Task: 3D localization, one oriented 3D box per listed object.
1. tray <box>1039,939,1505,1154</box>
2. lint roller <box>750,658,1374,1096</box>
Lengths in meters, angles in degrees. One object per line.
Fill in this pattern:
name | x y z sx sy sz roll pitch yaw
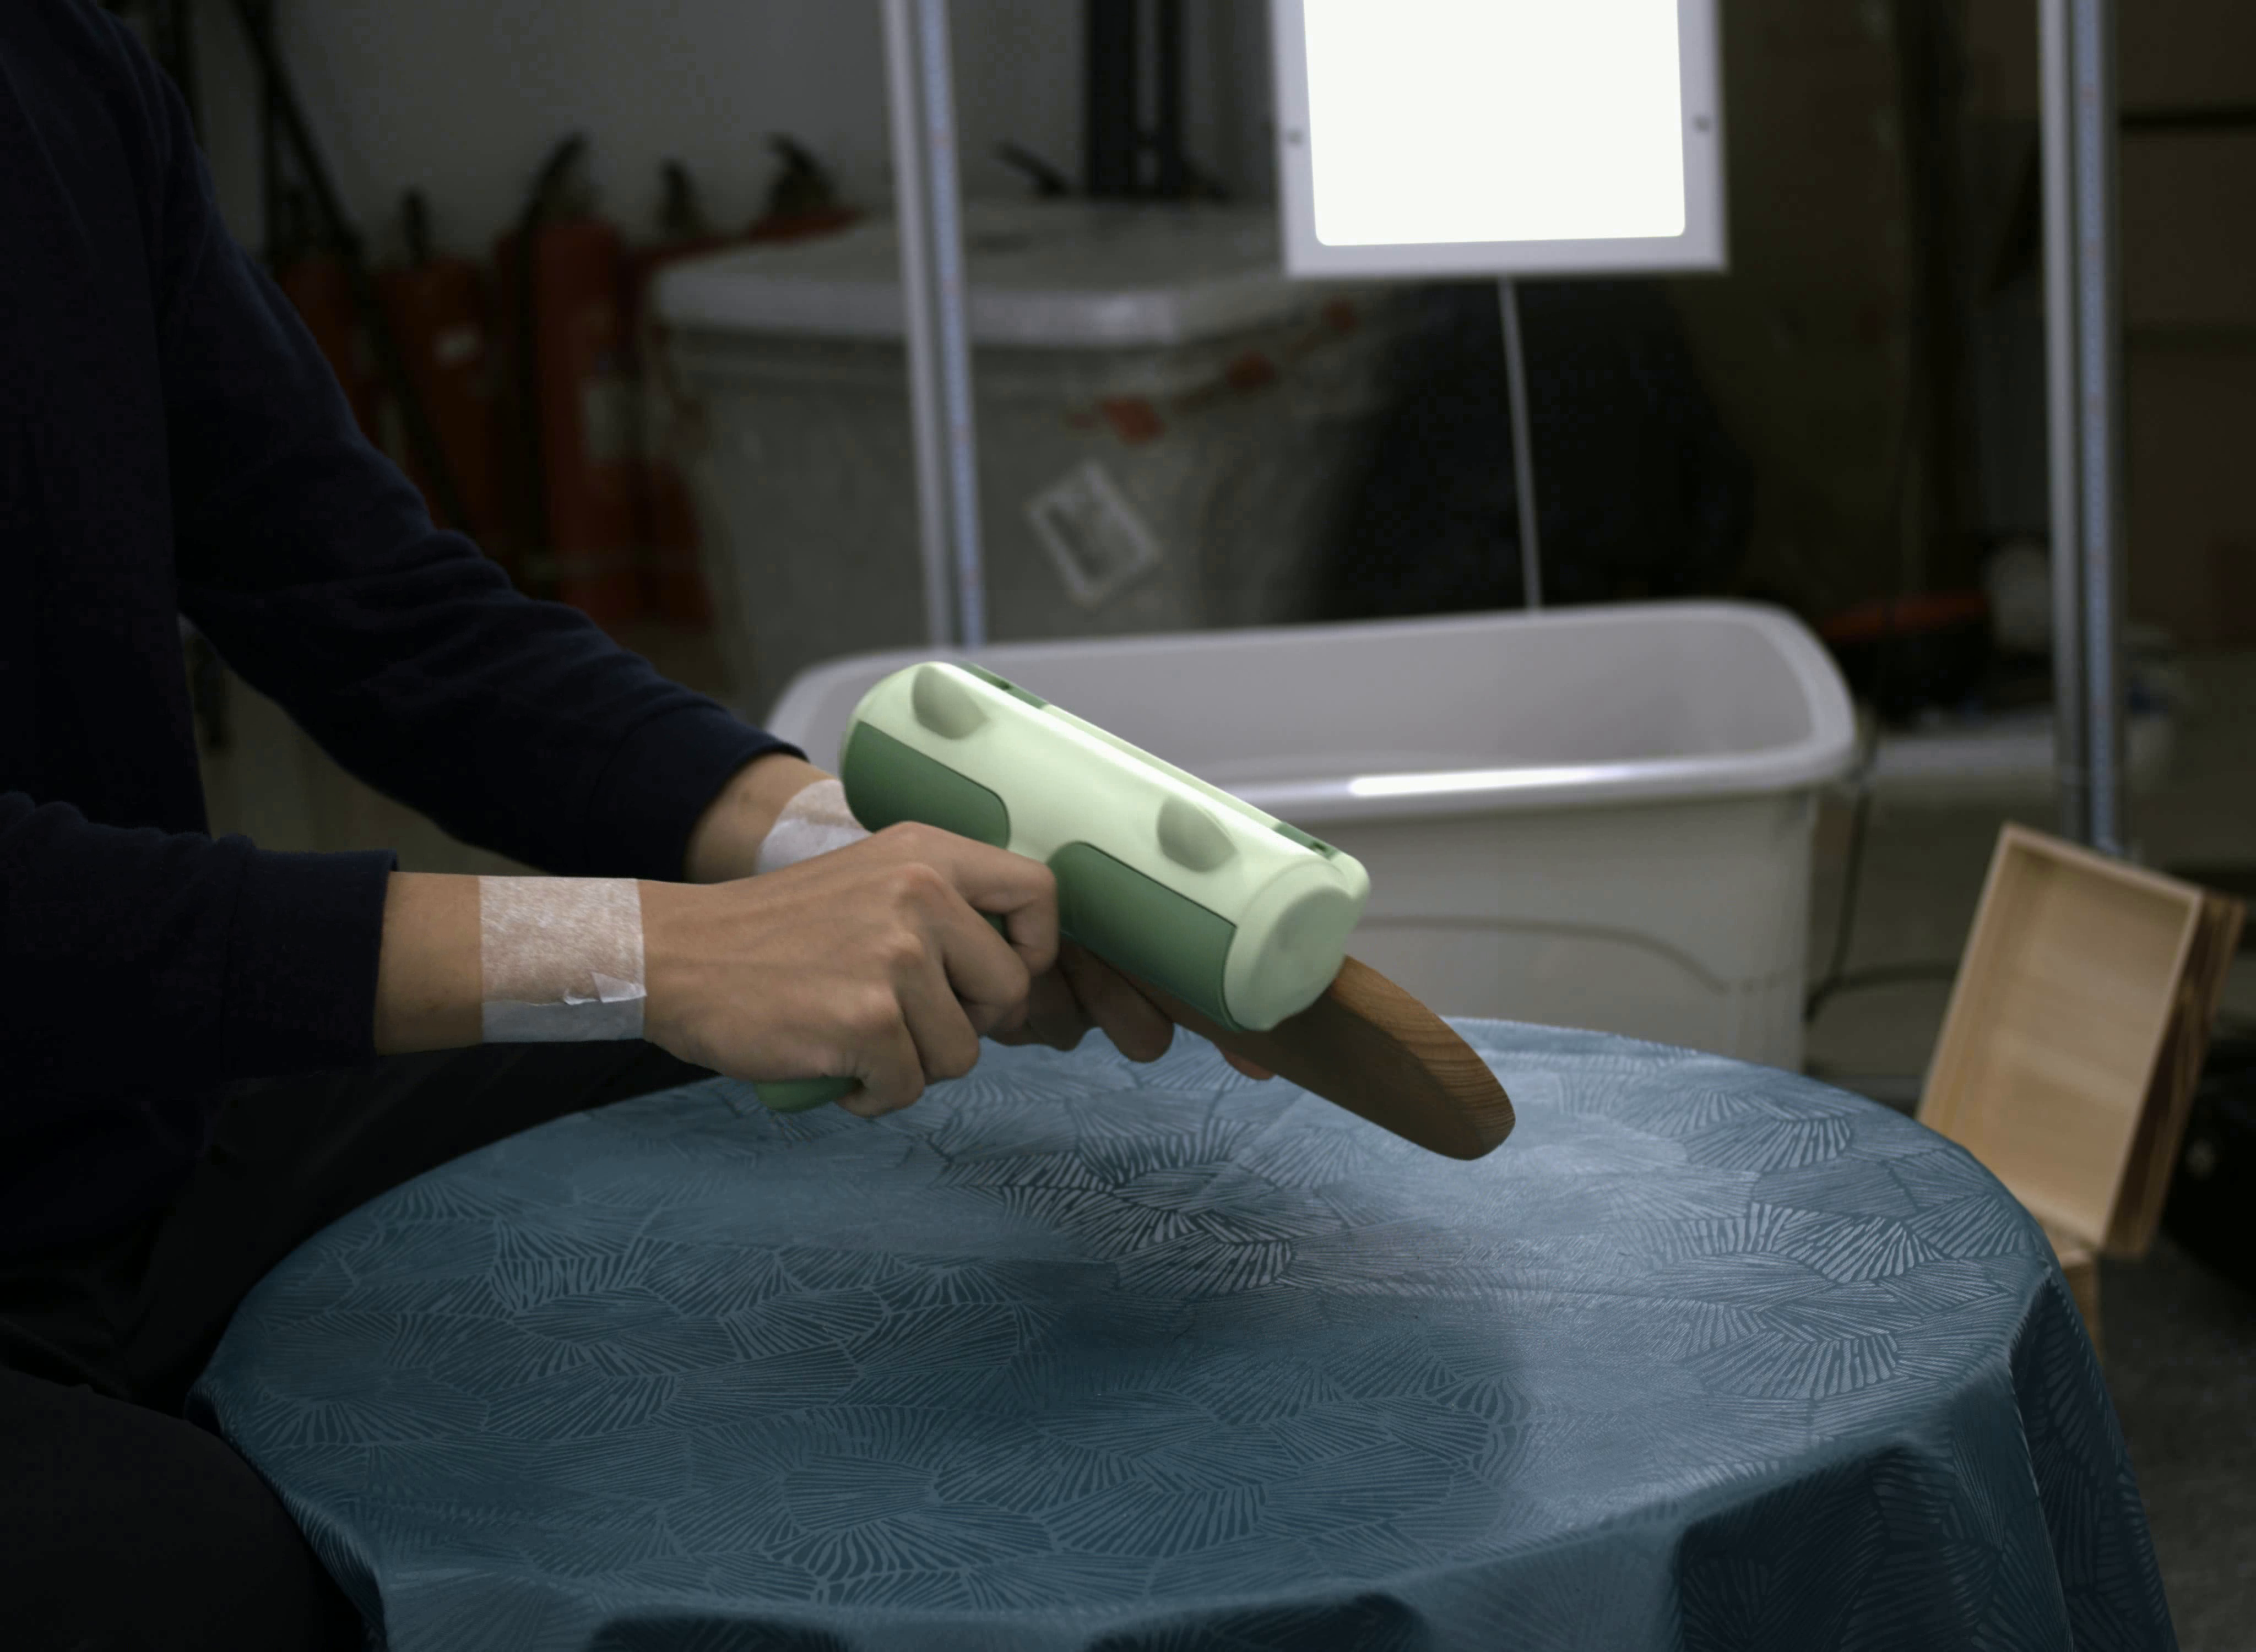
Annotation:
tray | 0.031 0.048 1.831 0.235 0.101 0.020 25 67 37
lint roller | -0.051 0.019 1.753 0.179 0.082 0.202 -27 40 -35
